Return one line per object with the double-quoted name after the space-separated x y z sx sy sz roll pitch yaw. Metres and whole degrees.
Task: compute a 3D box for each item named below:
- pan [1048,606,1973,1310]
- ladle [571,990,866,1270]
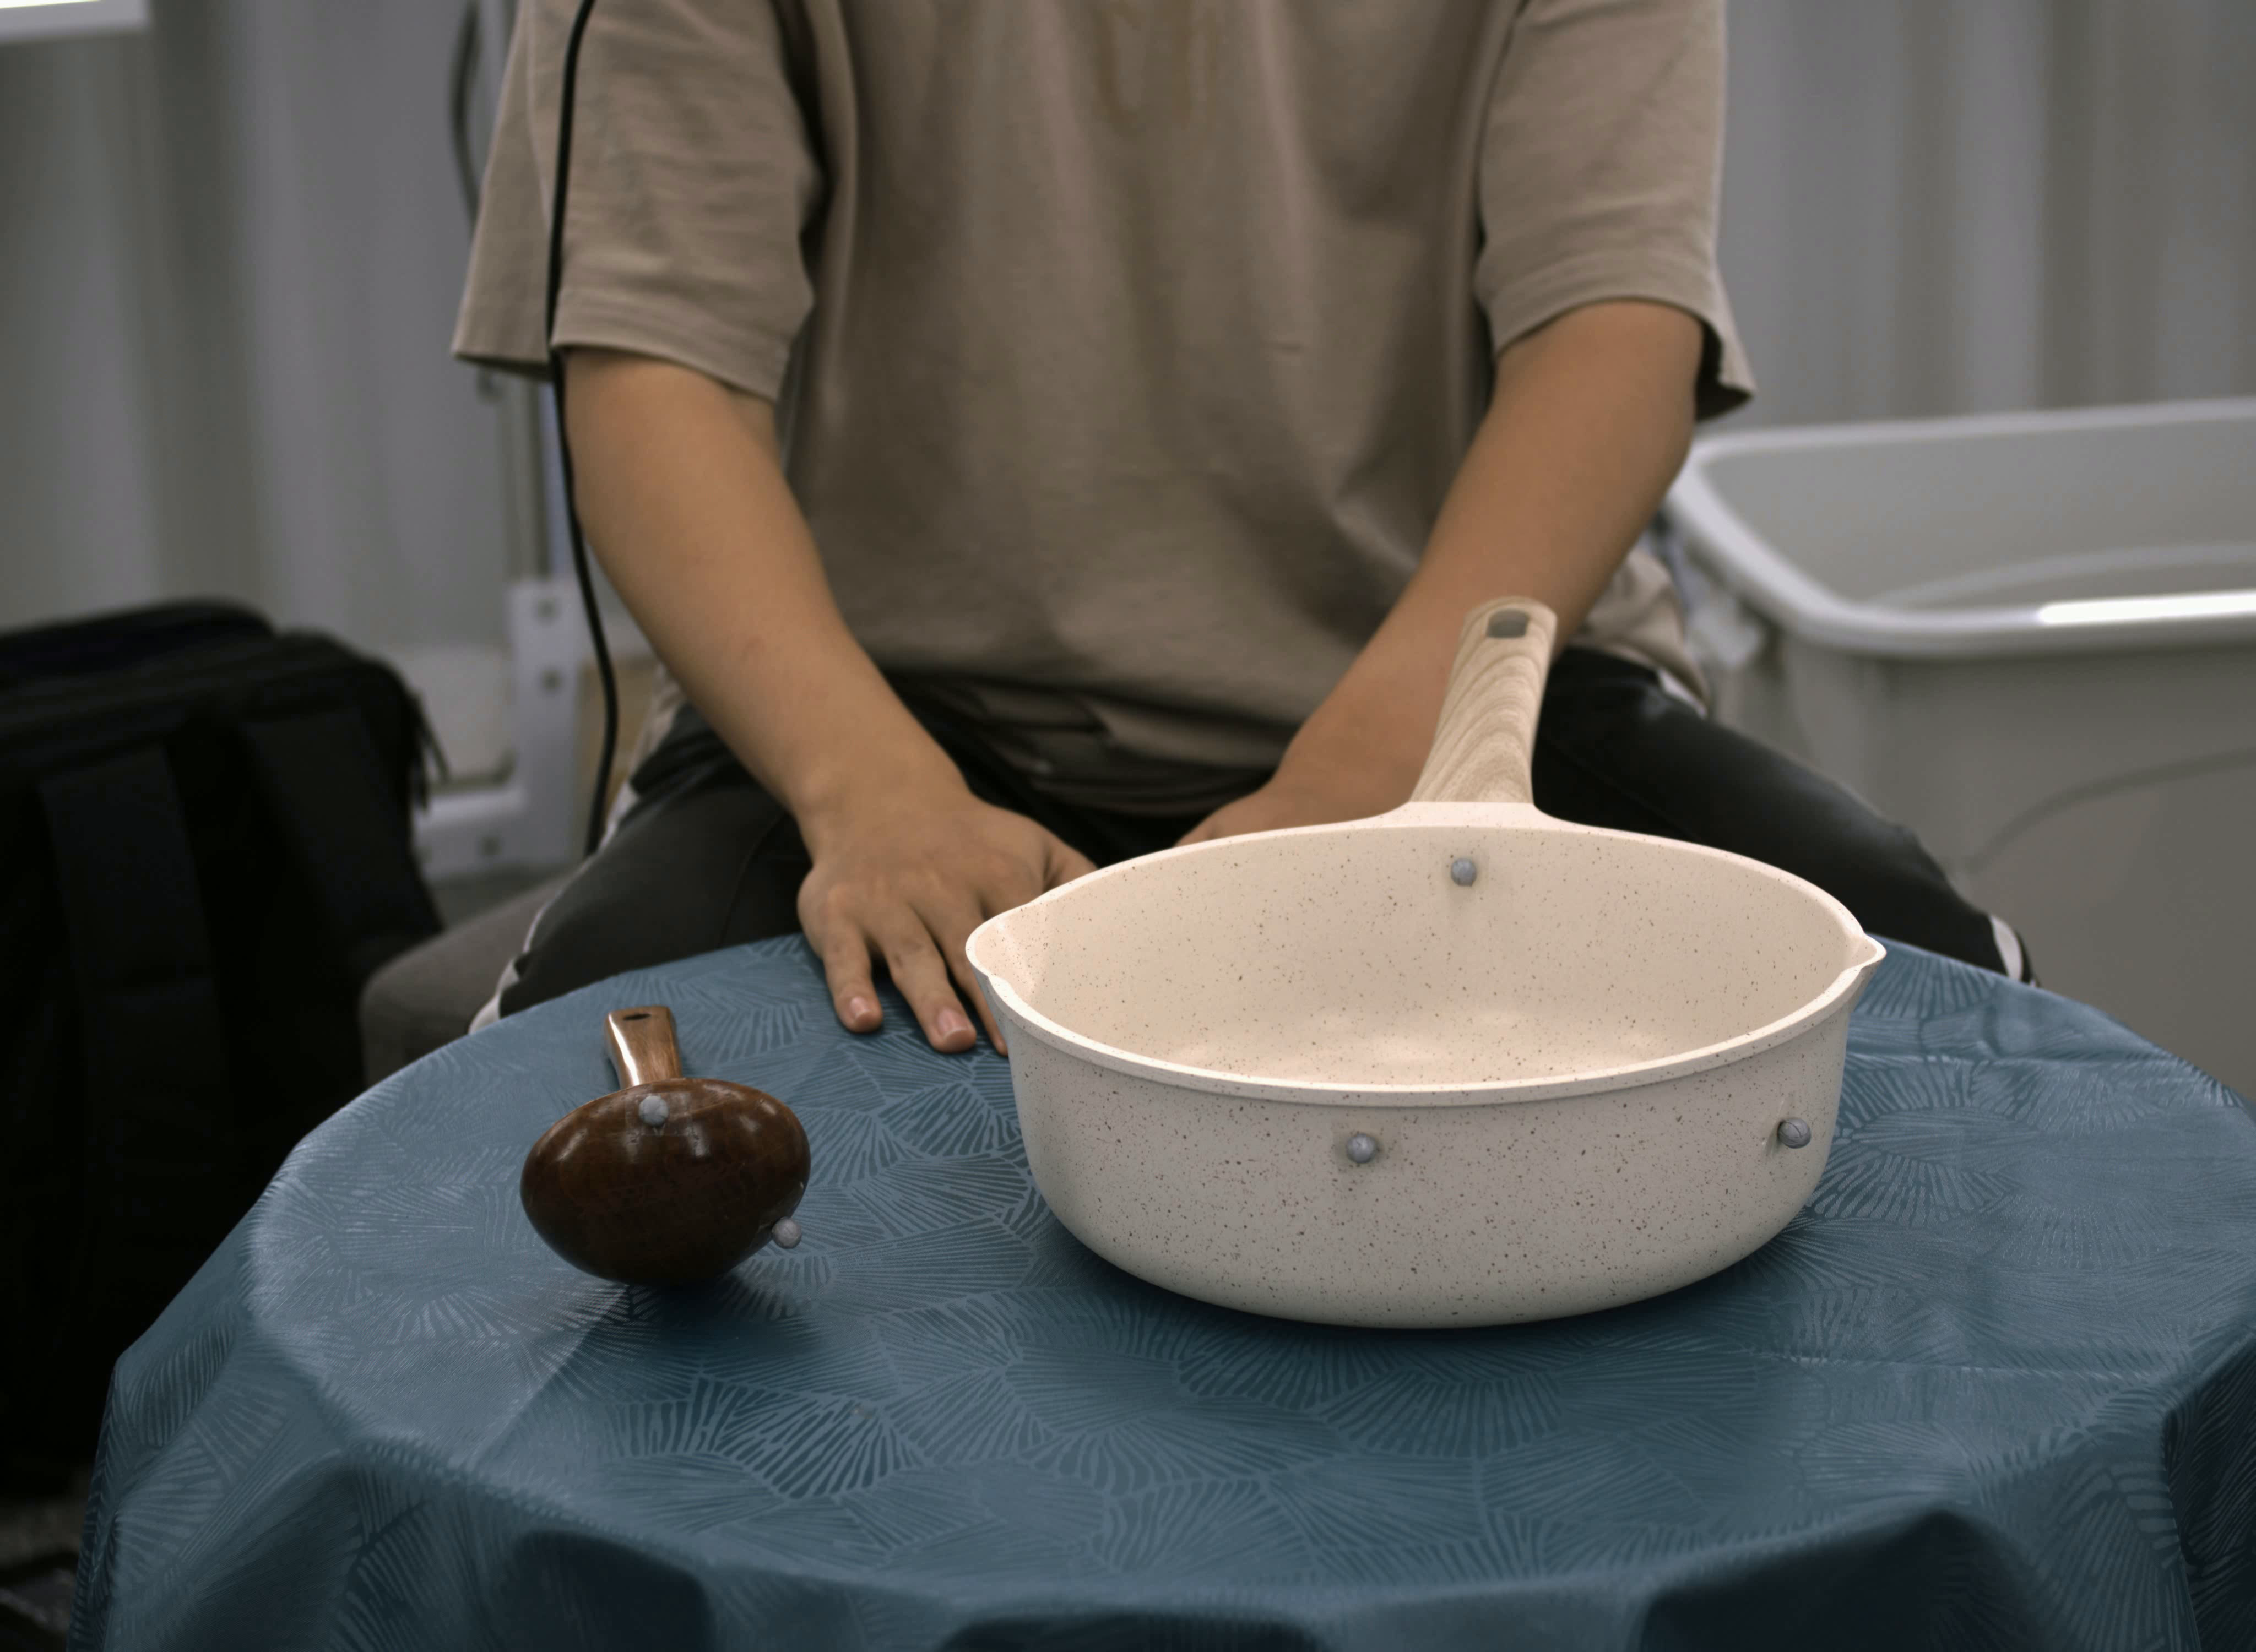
0.122 0.035 1.600 0.264 0.102 0.433 -1 16 9 "pan"
-0.123 0.065 1.568 0.081 0.076 0.276 -4 17 -4 "ladle"
